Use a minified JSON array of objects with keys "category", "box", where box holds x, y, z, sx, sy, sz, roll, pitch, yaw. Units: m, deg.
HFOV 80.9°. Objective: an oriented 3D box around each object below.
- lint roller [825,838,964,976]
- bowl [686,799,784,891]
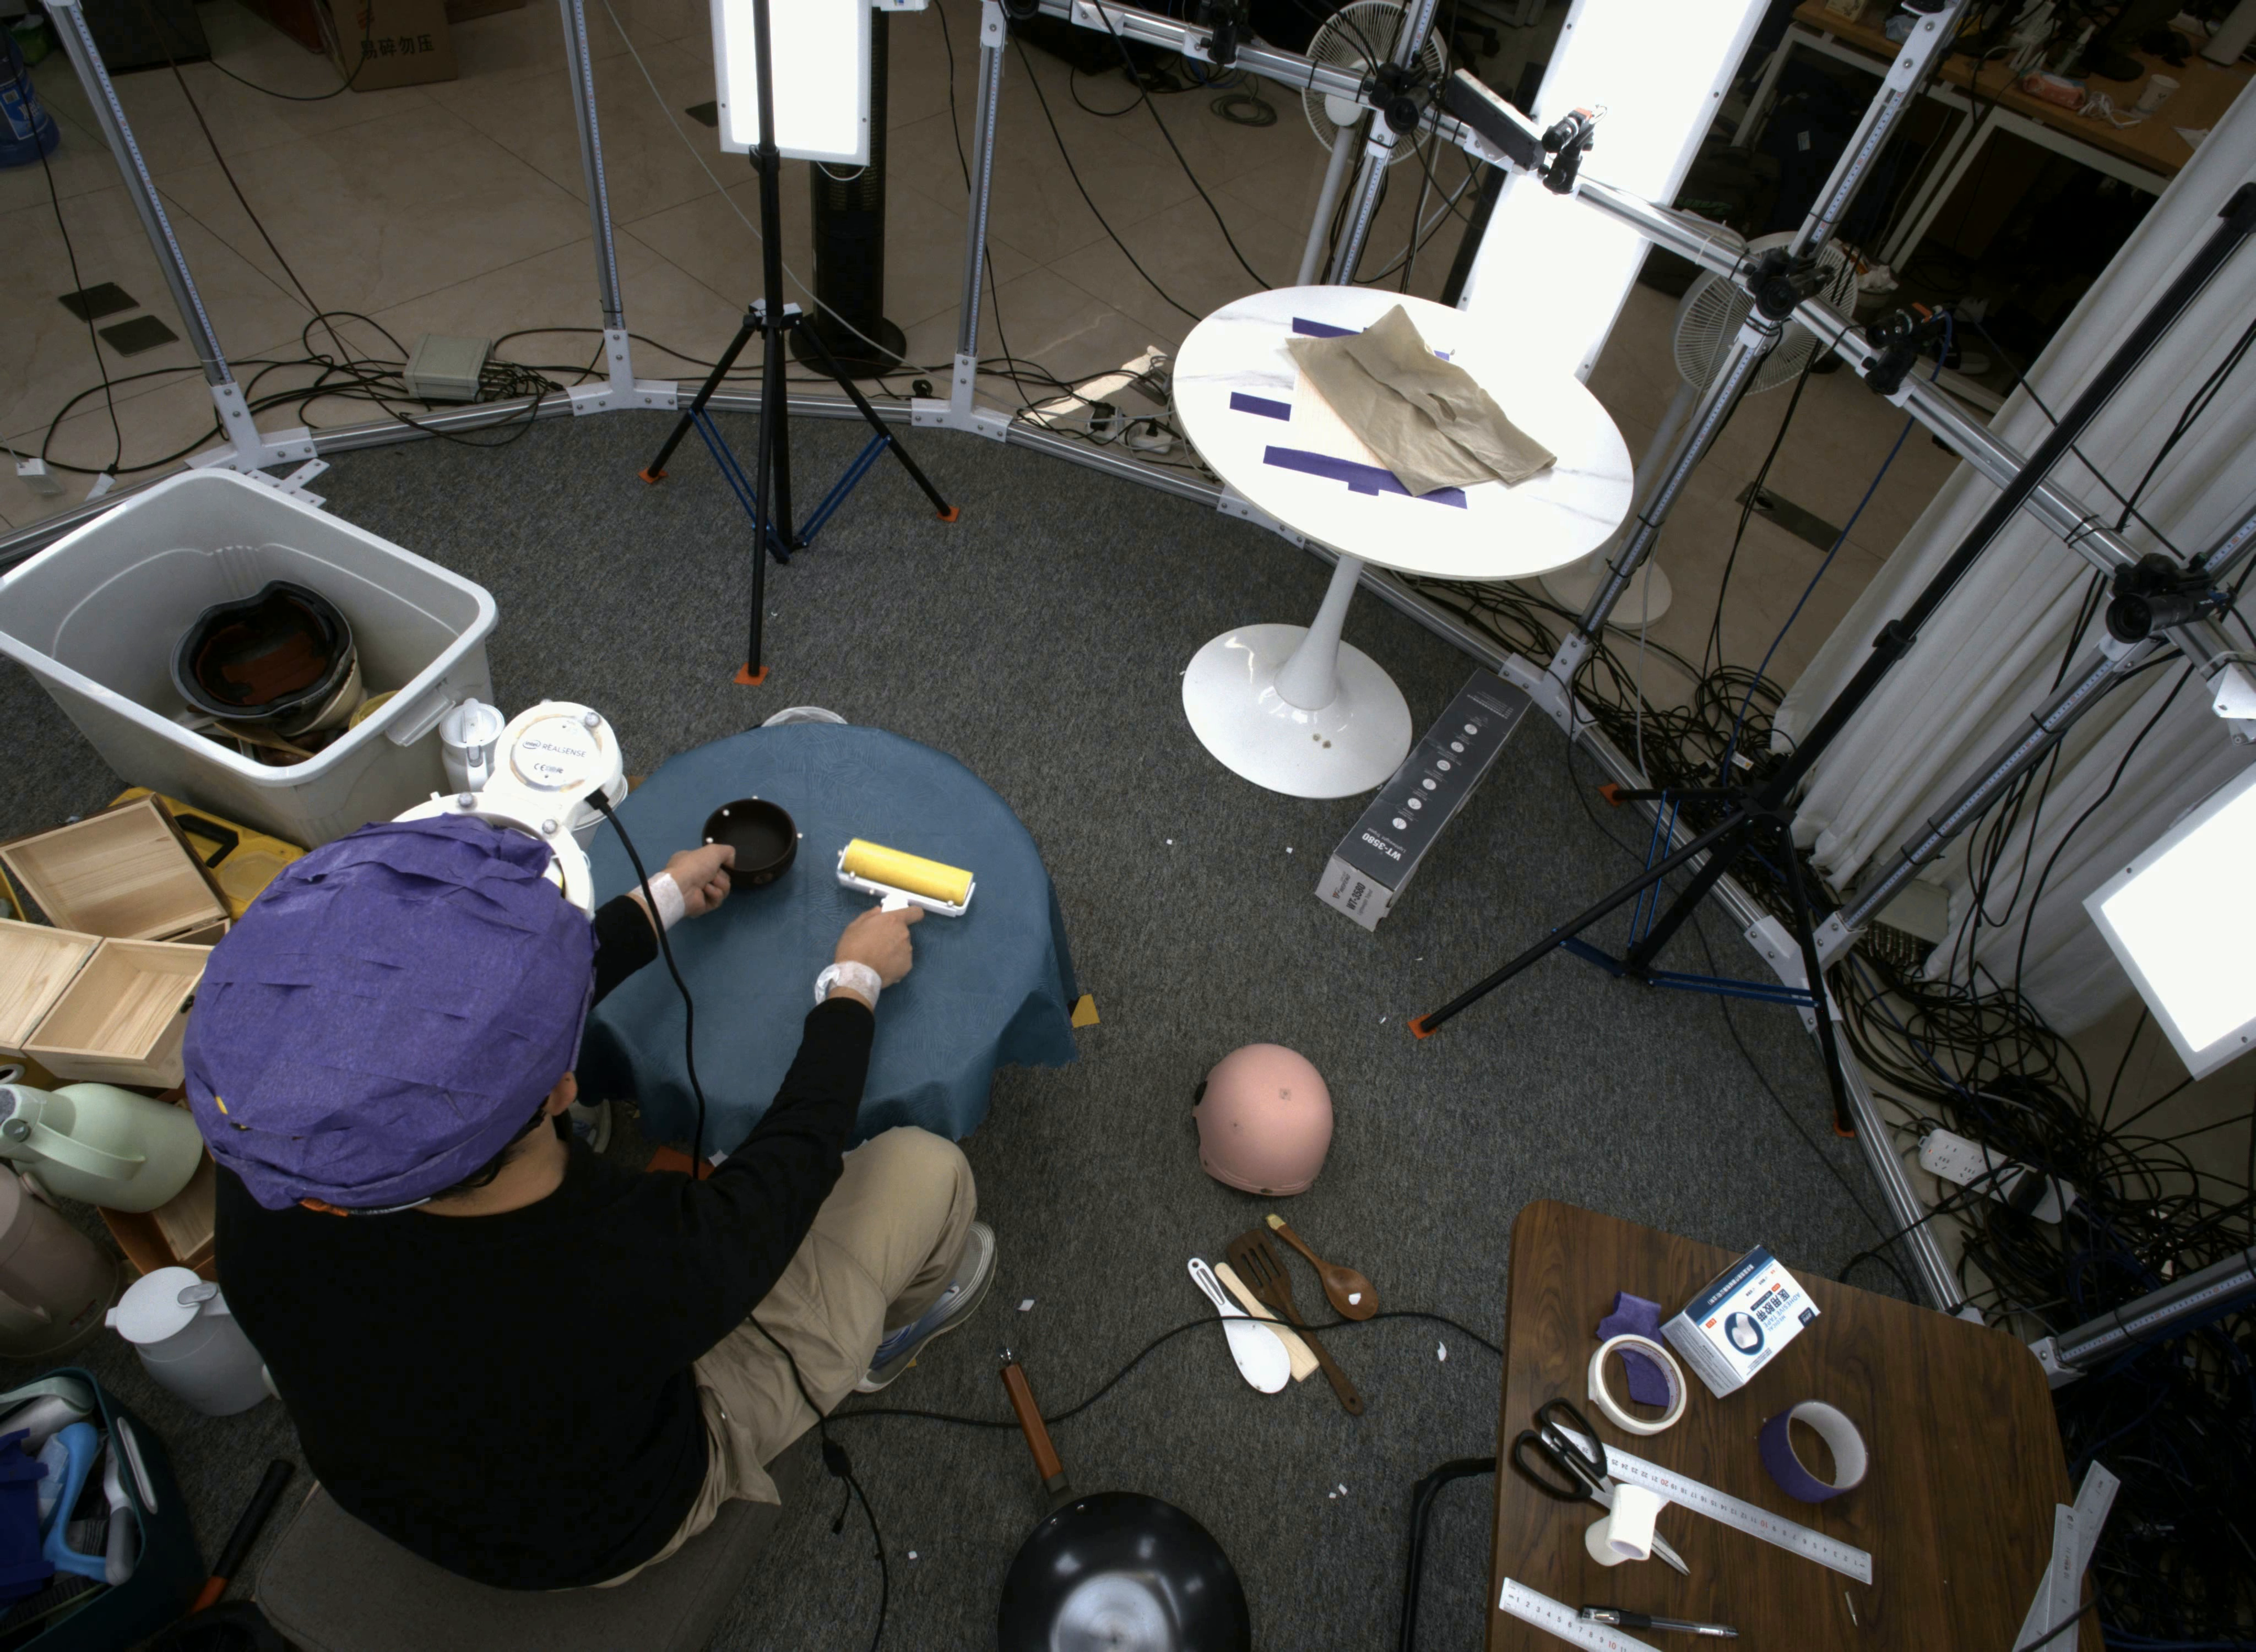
[{"category":"lint roller","box":[-0.306,0.102,1.620,0.174,0.052,0.188,16,38,-6]},{"category":"bowl","box":[-0.493,0.030,1.628,0.117,0.071,0.116,7,52,-7]}]
